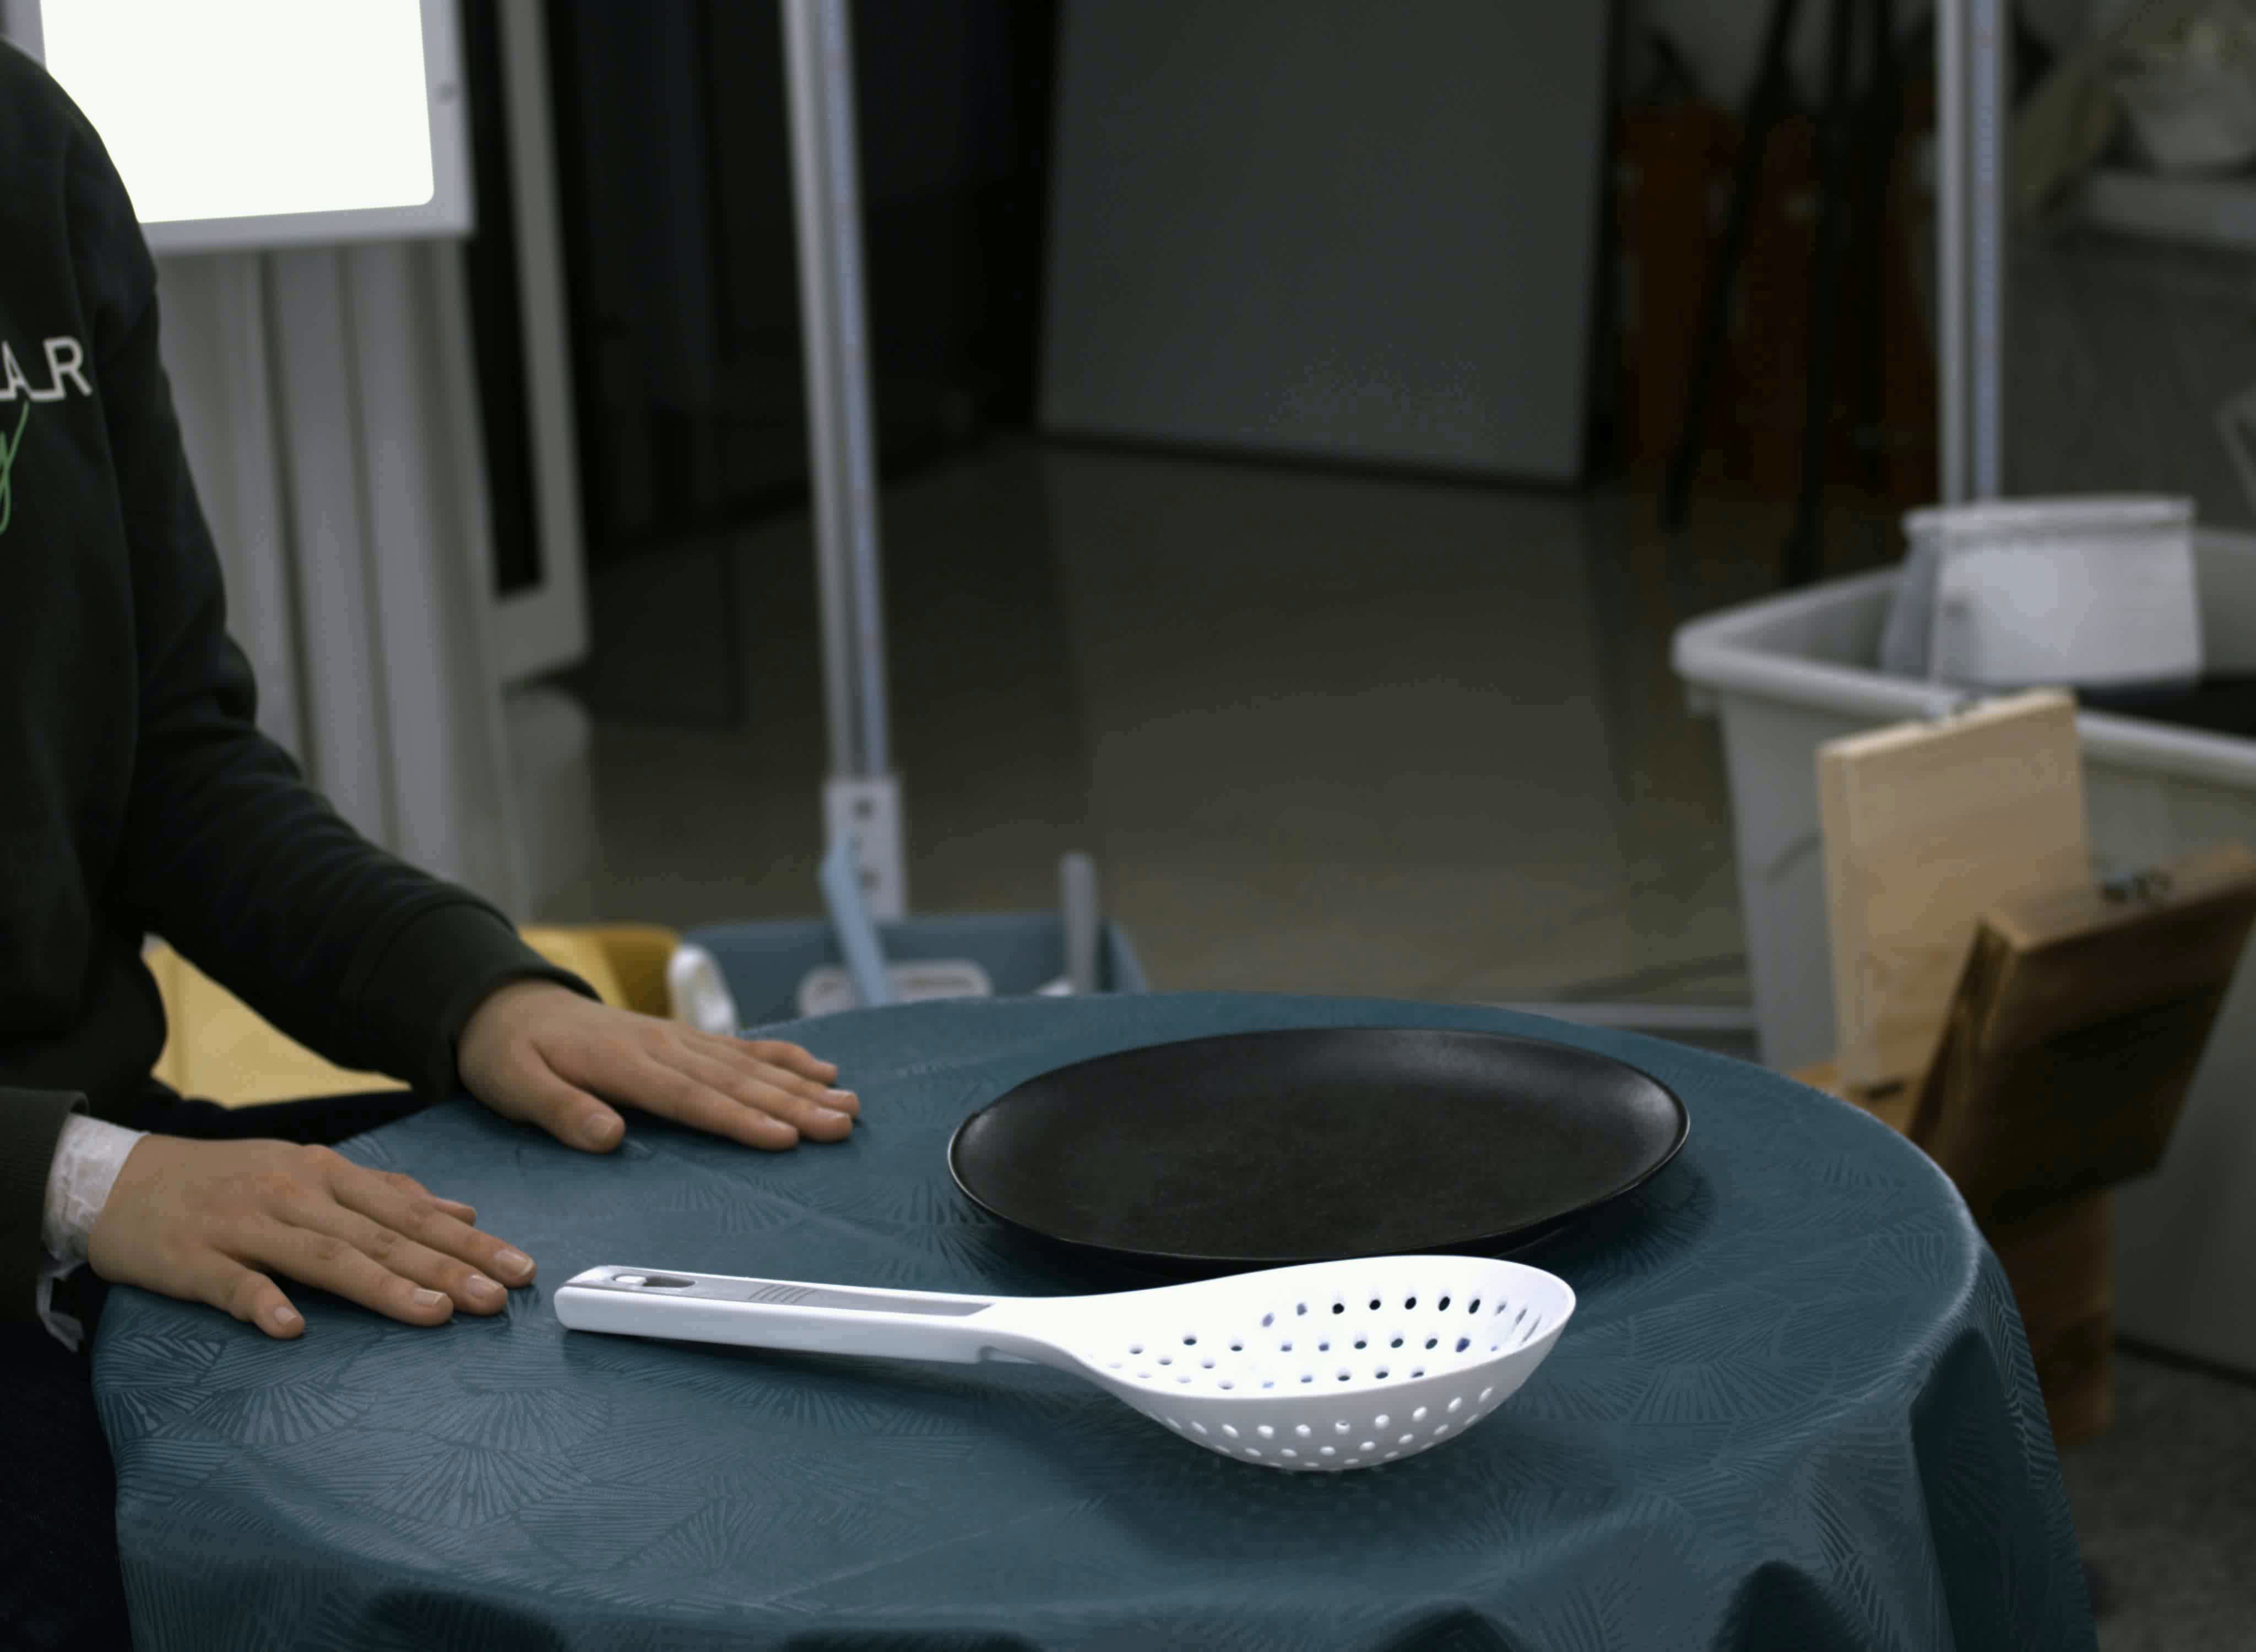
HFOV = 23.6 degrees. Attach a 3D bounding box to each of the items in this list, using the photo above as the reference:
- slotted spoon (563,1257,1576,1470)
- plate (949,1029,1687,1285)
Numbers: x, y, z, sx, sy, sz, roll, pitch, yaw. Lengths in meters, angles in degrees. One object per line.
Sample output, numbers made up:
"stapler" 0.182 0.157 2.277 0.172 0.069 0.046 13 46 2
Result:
"slotted spoon" -0.028 0.148 1.577 0.352 0.046 0.133 5 14 35
"plate" 0.062 0.110 1.750 0.241 0.024 0.245 -4 14 0
